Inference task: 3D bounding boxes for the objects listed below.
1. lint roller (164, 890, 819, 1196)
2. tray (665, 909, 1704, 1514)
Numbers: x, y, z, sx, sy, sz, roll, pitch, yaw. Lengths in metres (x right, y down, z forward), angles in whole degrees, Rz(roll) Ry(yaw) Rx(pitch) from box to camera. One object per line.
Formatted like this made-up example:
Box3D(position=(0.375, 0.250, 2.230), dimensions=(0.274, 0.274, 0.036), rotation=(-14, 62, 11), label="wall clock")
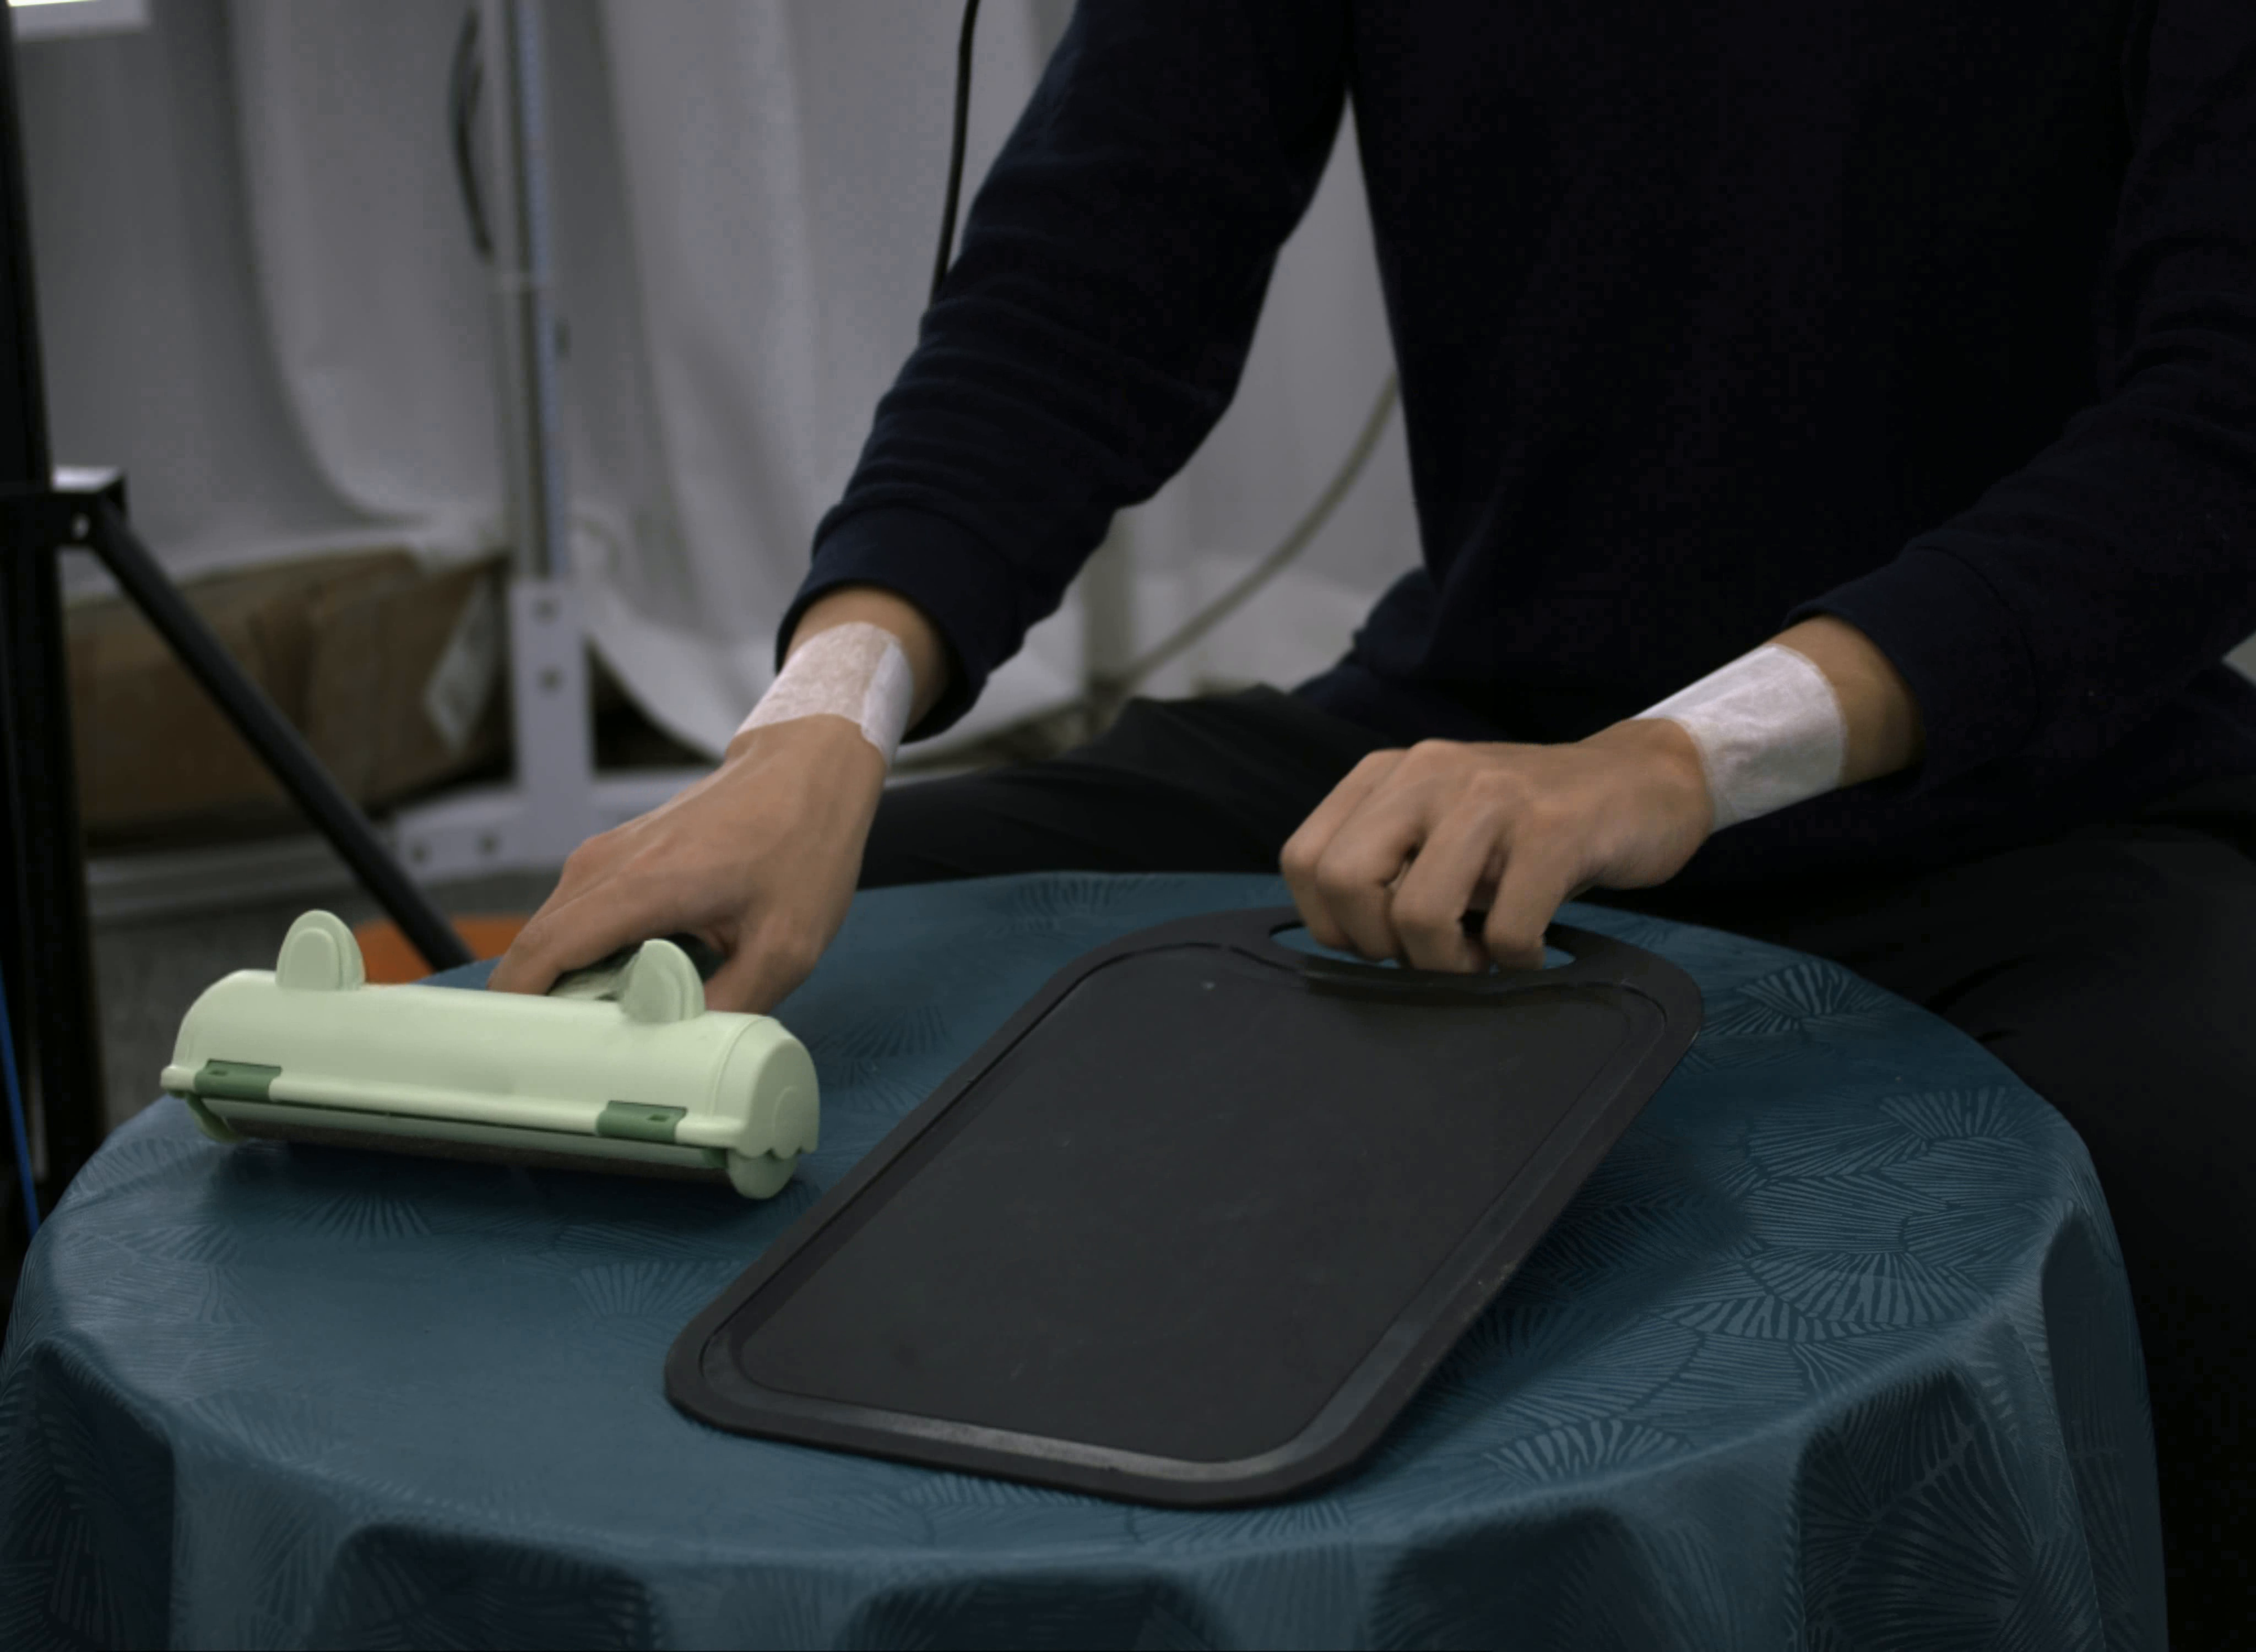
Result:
Box3D(position=(-0.170, 0.043, 1.639), dimensions=(0.201, 0.082, 0.182), rotation=(4, 30, 24), label="lint roller")
Box3D(position=(0.024, 0.095, 1.485), dimensions=(0.215, 0.010, 0.321), rotation=(6, 28, 29), label="tray")
